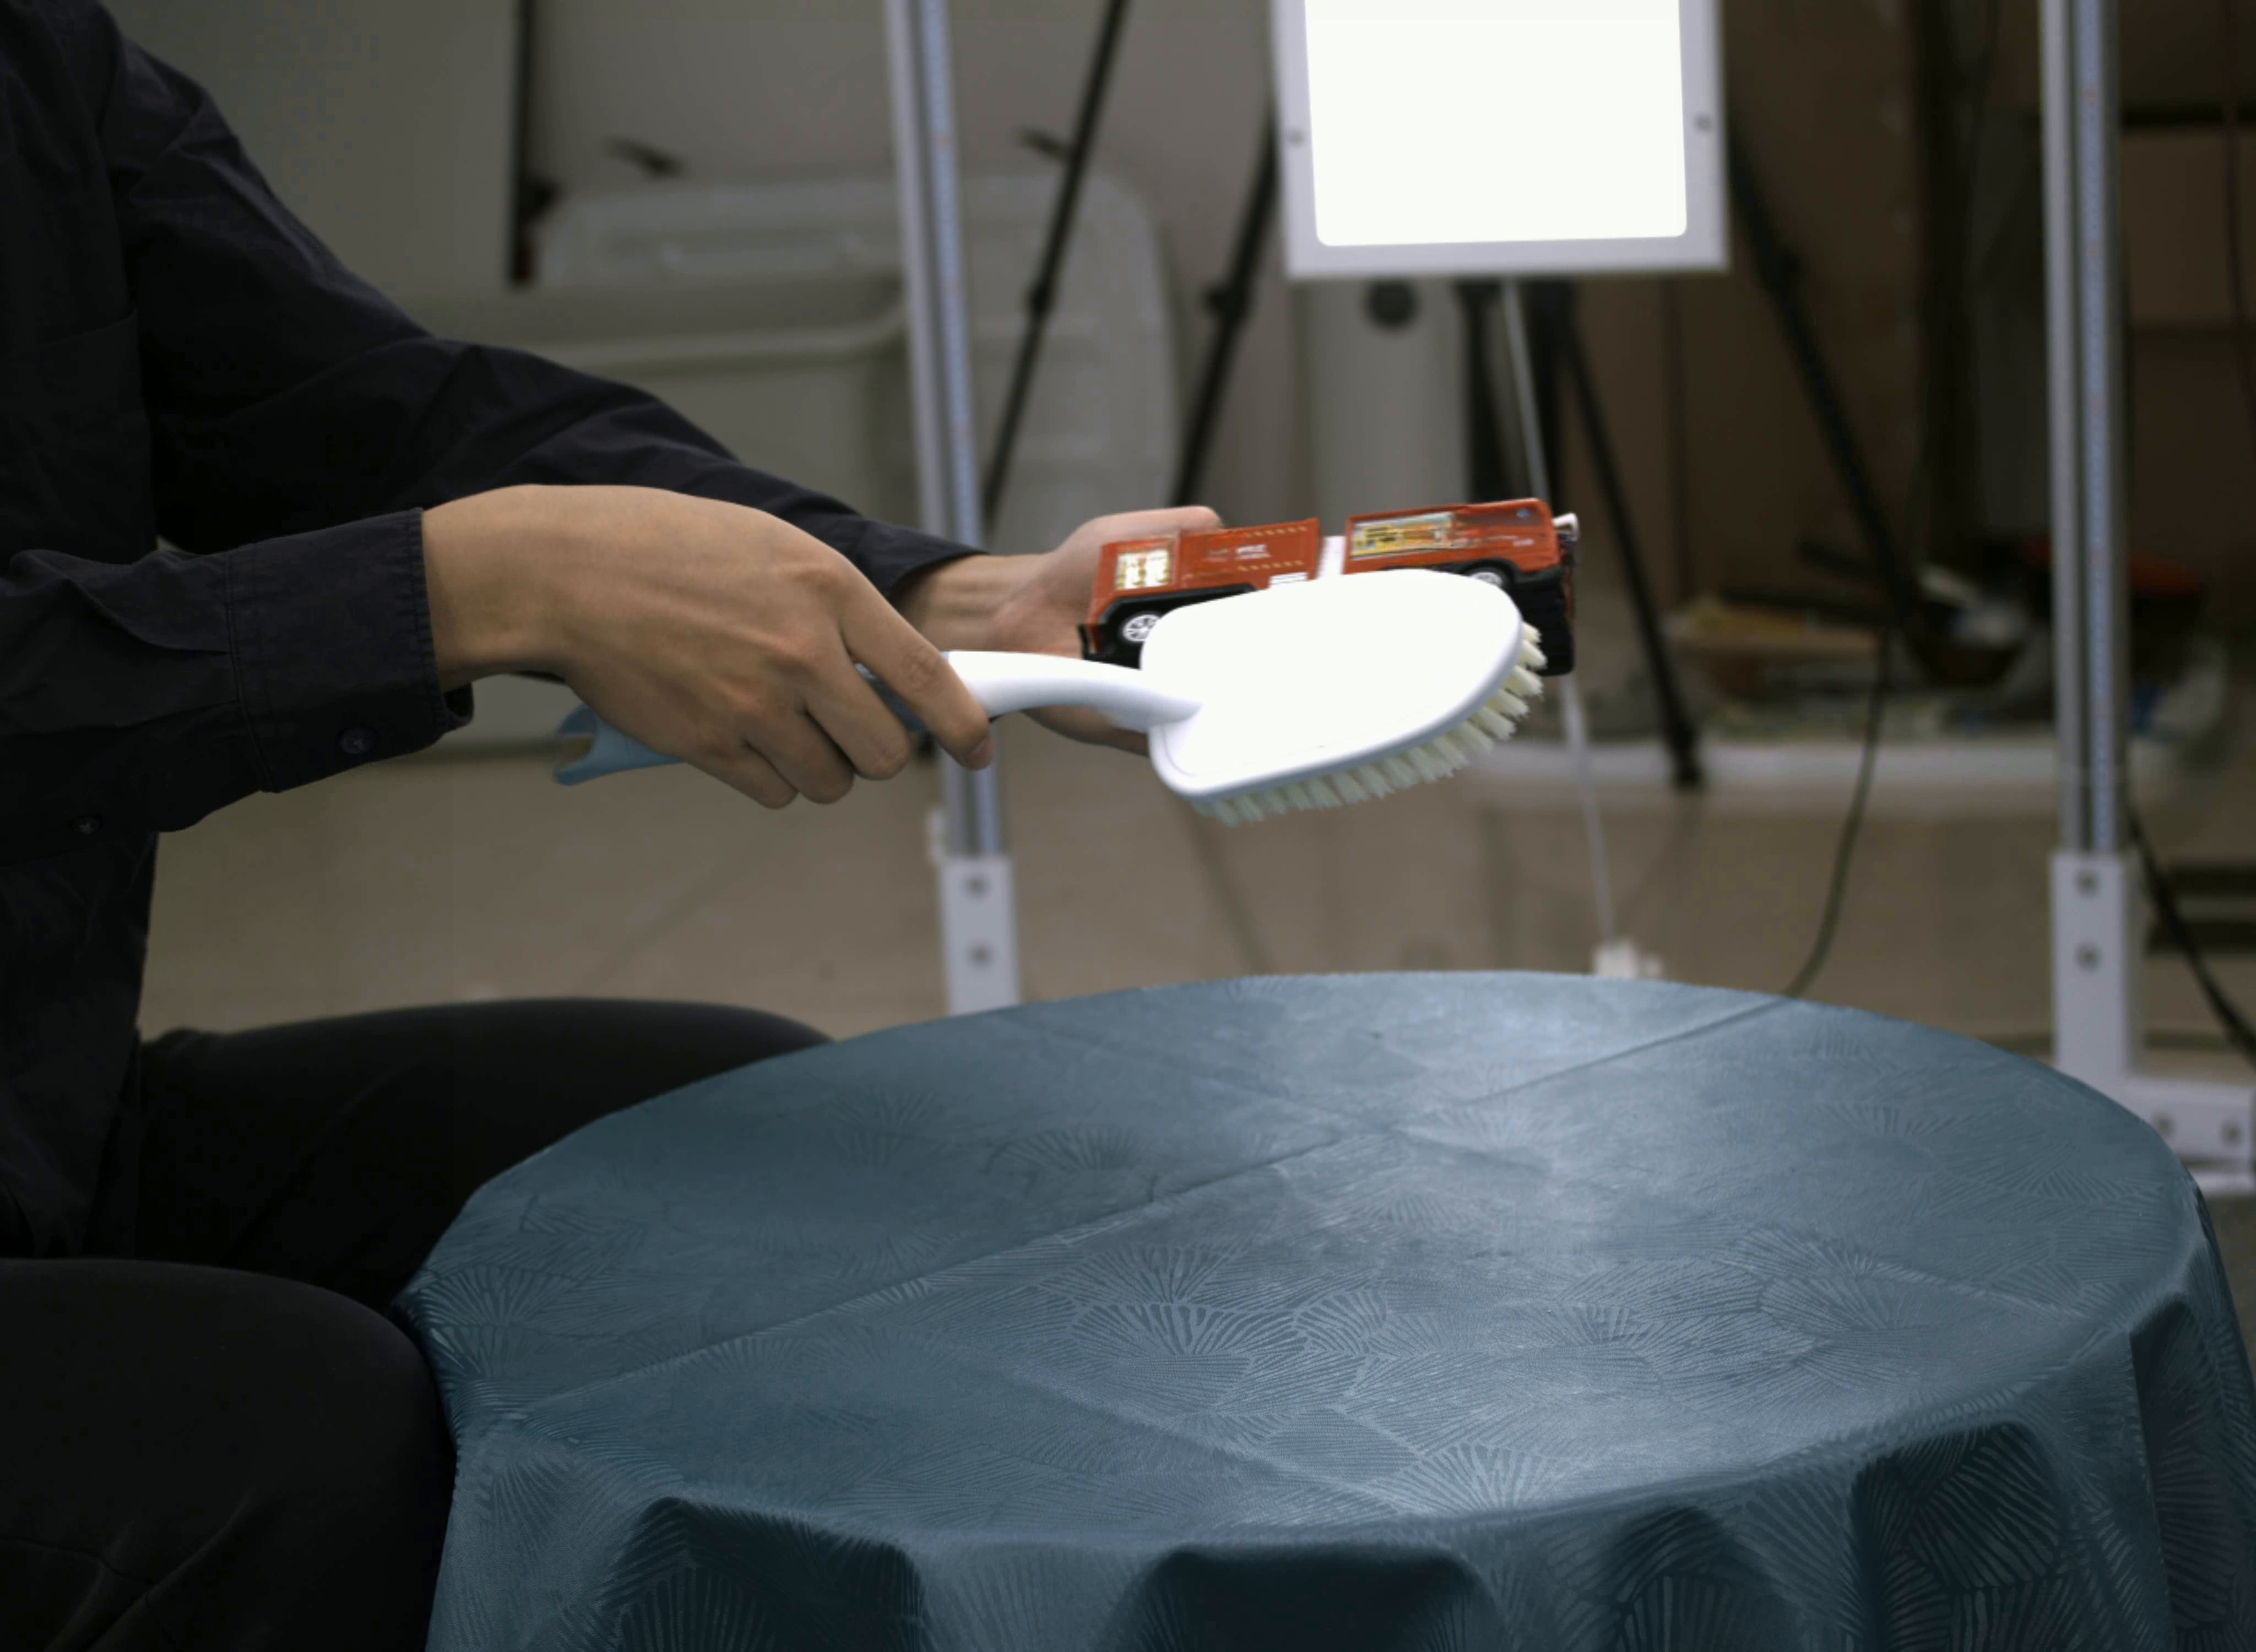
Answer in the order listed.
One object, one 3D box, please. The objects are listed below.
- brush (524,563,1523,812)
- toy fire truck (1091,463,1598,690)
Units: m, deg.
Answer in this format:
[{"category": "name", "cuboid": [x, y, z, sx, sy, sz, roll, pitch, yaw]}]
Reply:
[{"category": "brush", "cuboid": [-0.033, -0.039, 1.795, 0.326, 0.085, 0.083, -7, 32, 5]}, {"category": "toy fire truck", "cuboid": [0.074, -0.080, 1.830, 0.169, 0.054, 0.070, -7, 43, 12]}]
